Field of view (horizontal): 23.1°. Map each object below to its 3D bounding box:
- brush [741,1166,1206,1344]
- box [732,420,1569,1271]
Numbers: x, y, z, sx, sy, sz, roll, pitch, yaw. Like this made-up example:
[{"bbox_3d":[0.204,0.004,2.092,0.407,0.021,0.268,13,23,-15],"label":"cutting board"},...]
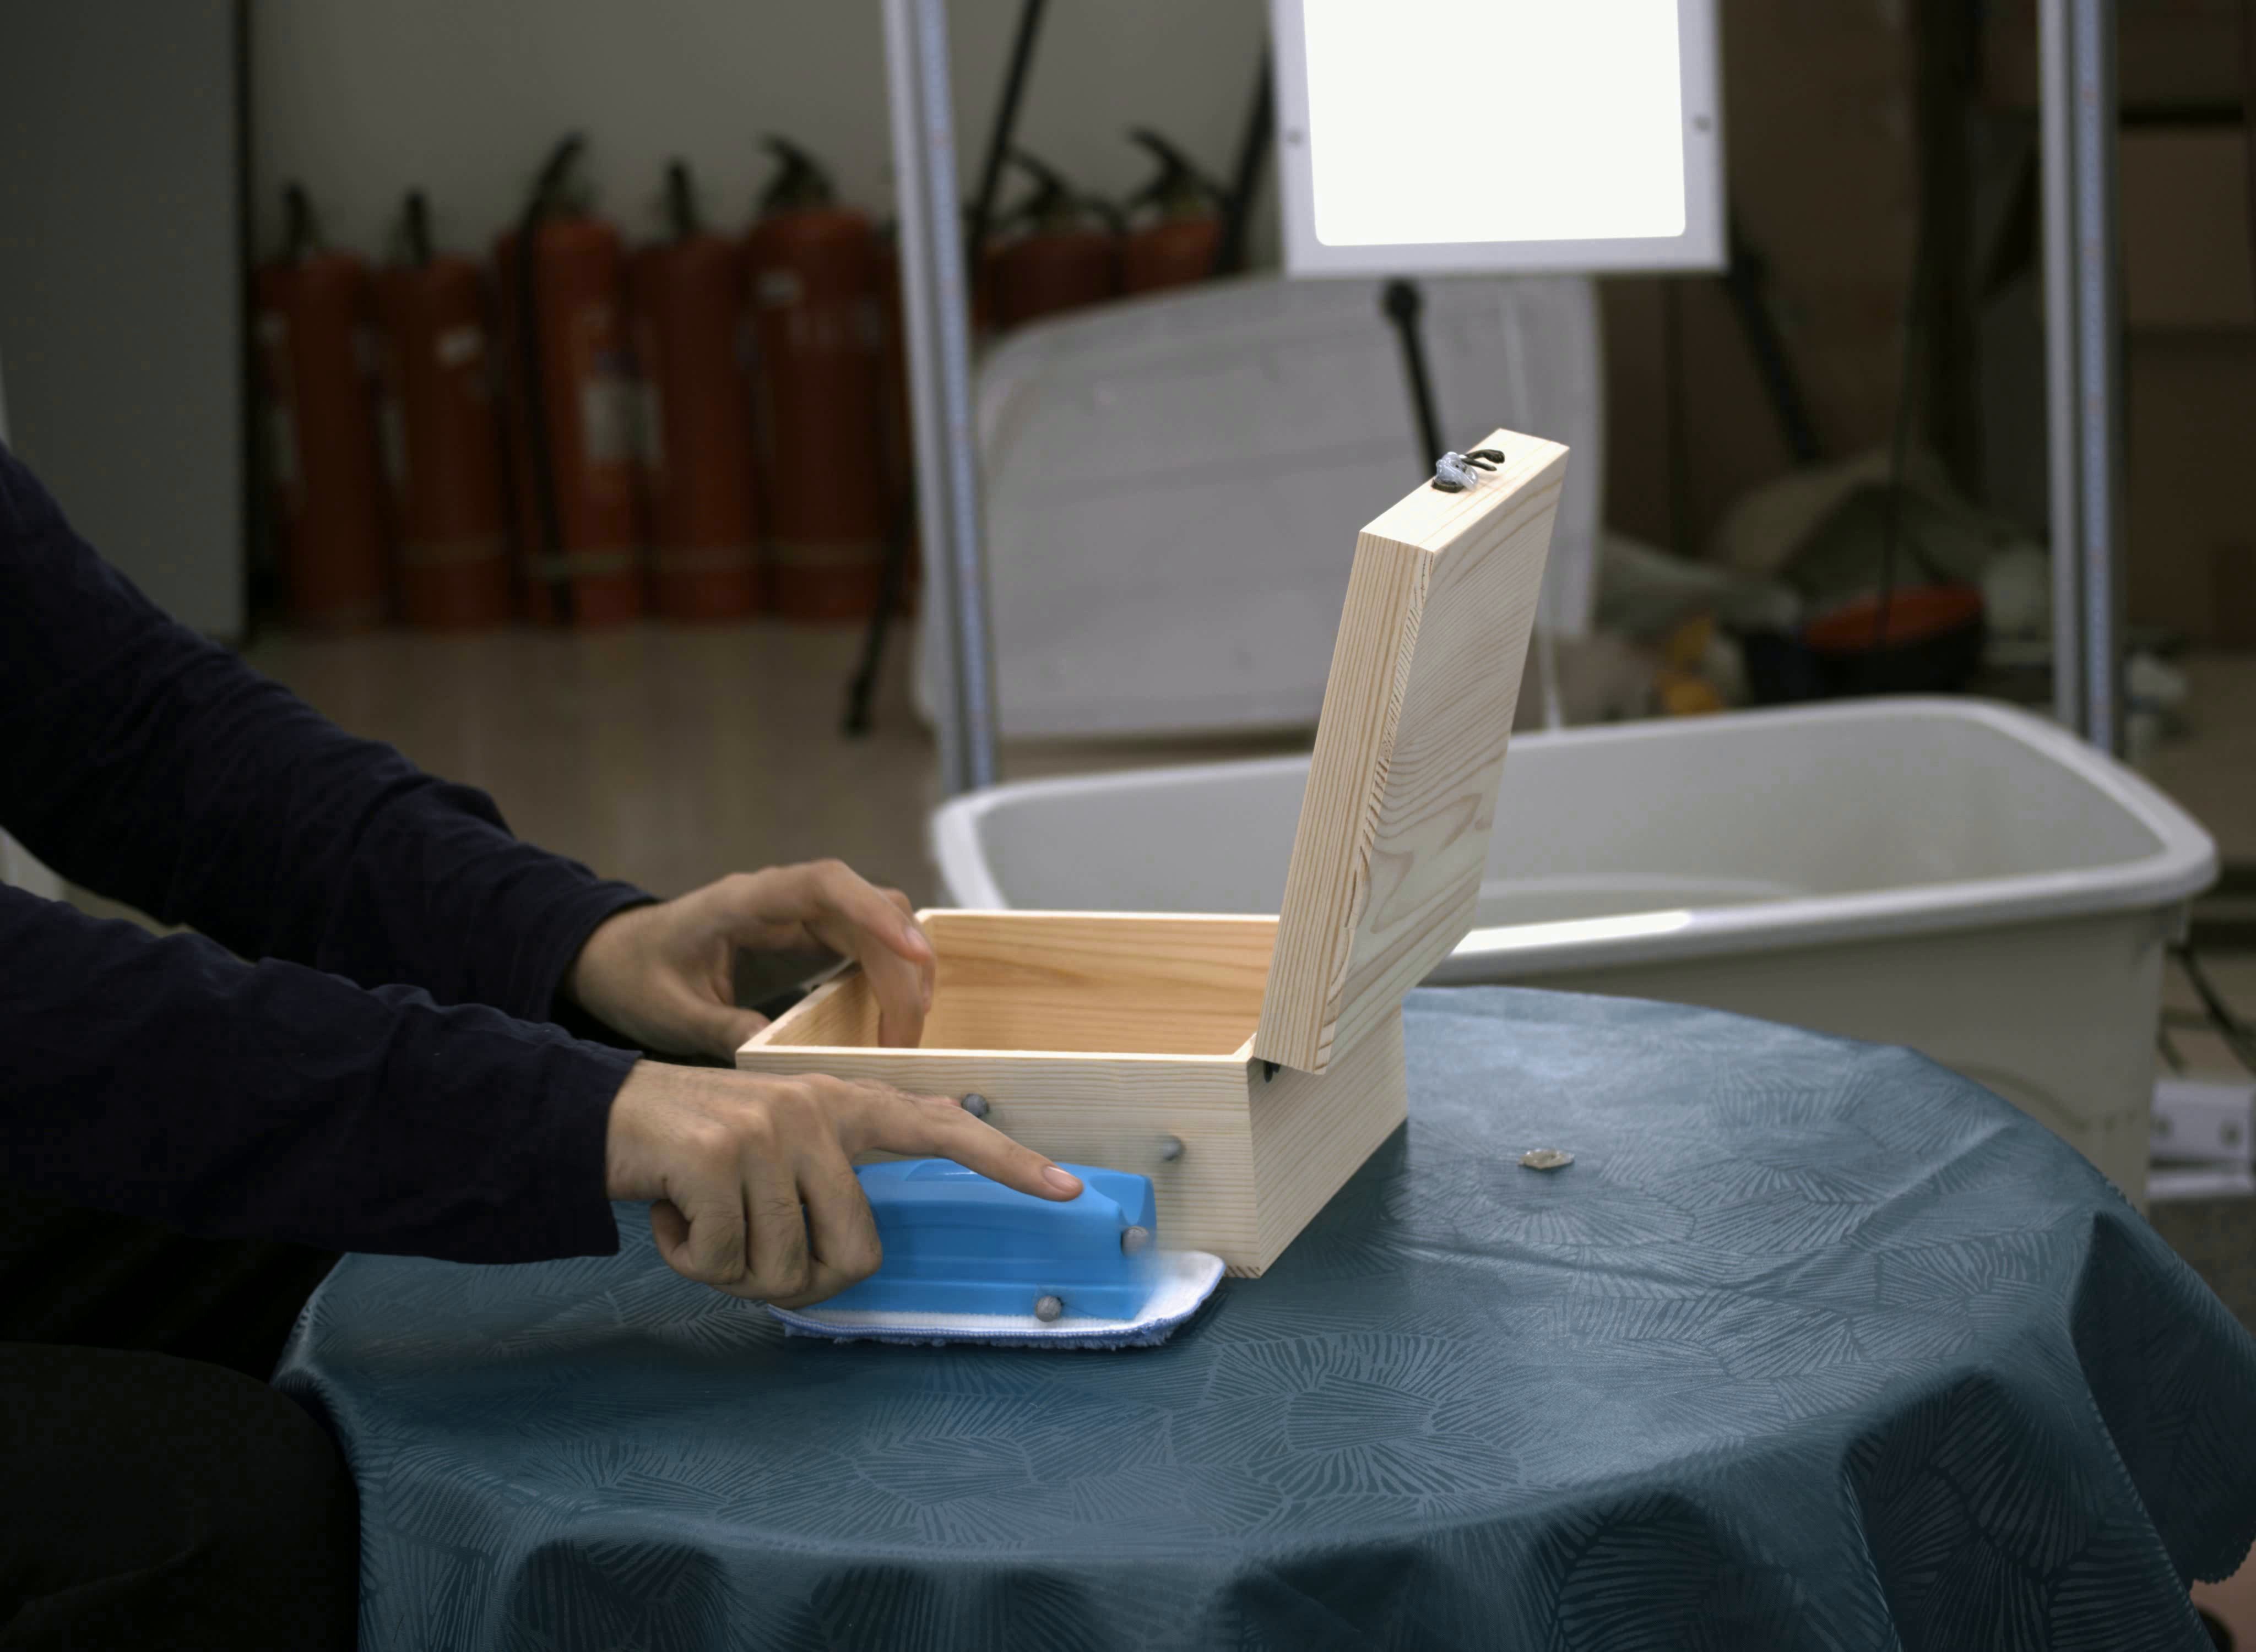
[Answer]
[{"bbox_3d":[-0.048,0.138,1.761,0.145,0.056,0.083,2,5,12],"label":"brush"},{"bbox_3d":[0.009,0.003,1.866,0.268,0.254,0.179,0,14,20],"label":"box"}]
